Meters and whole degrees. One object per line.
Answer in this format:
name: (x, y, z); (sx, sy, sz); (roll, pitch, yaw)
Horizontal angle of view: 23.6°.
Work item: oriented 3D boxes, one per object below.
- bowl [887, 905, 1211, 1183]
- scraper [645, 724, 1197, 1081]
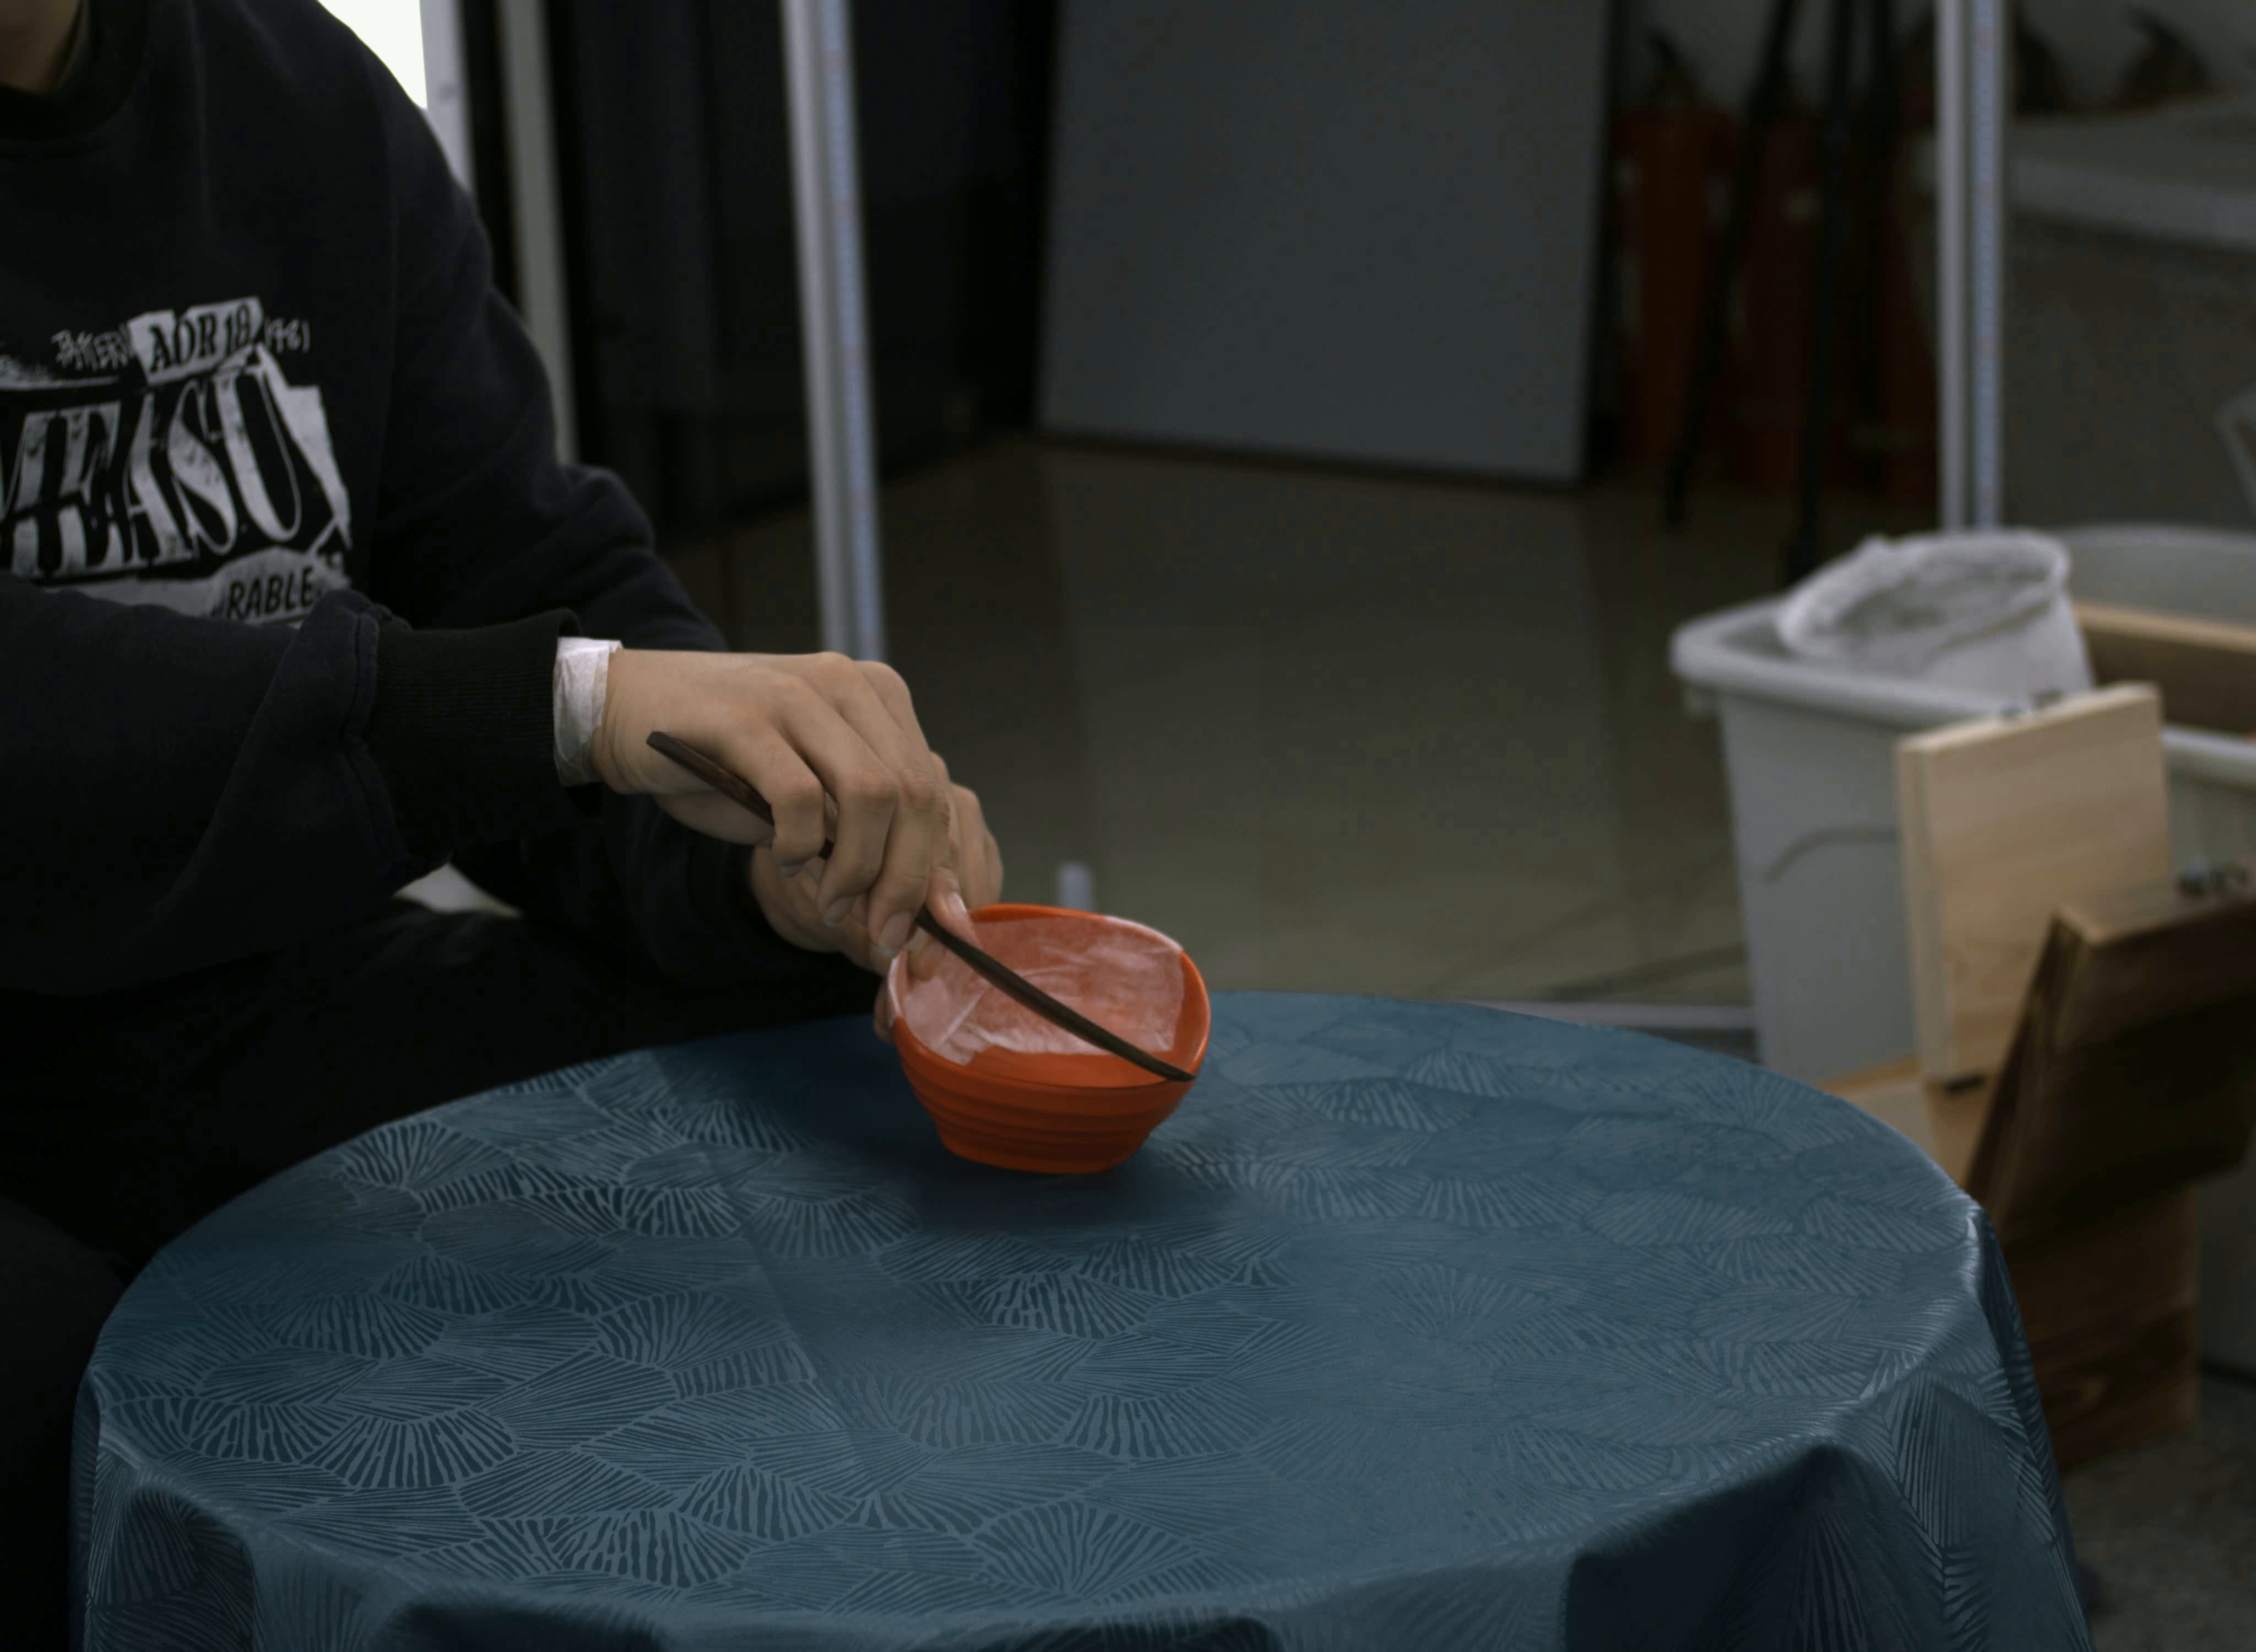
bowl: (-0.029, 0.078, 1.804); (0.117, 0.052, 0.119); (6, 33, -5)
scraper: (-0.069, 0.027, 1.736); (0.209, 0.011, 0.076); (35, -7, -17)
